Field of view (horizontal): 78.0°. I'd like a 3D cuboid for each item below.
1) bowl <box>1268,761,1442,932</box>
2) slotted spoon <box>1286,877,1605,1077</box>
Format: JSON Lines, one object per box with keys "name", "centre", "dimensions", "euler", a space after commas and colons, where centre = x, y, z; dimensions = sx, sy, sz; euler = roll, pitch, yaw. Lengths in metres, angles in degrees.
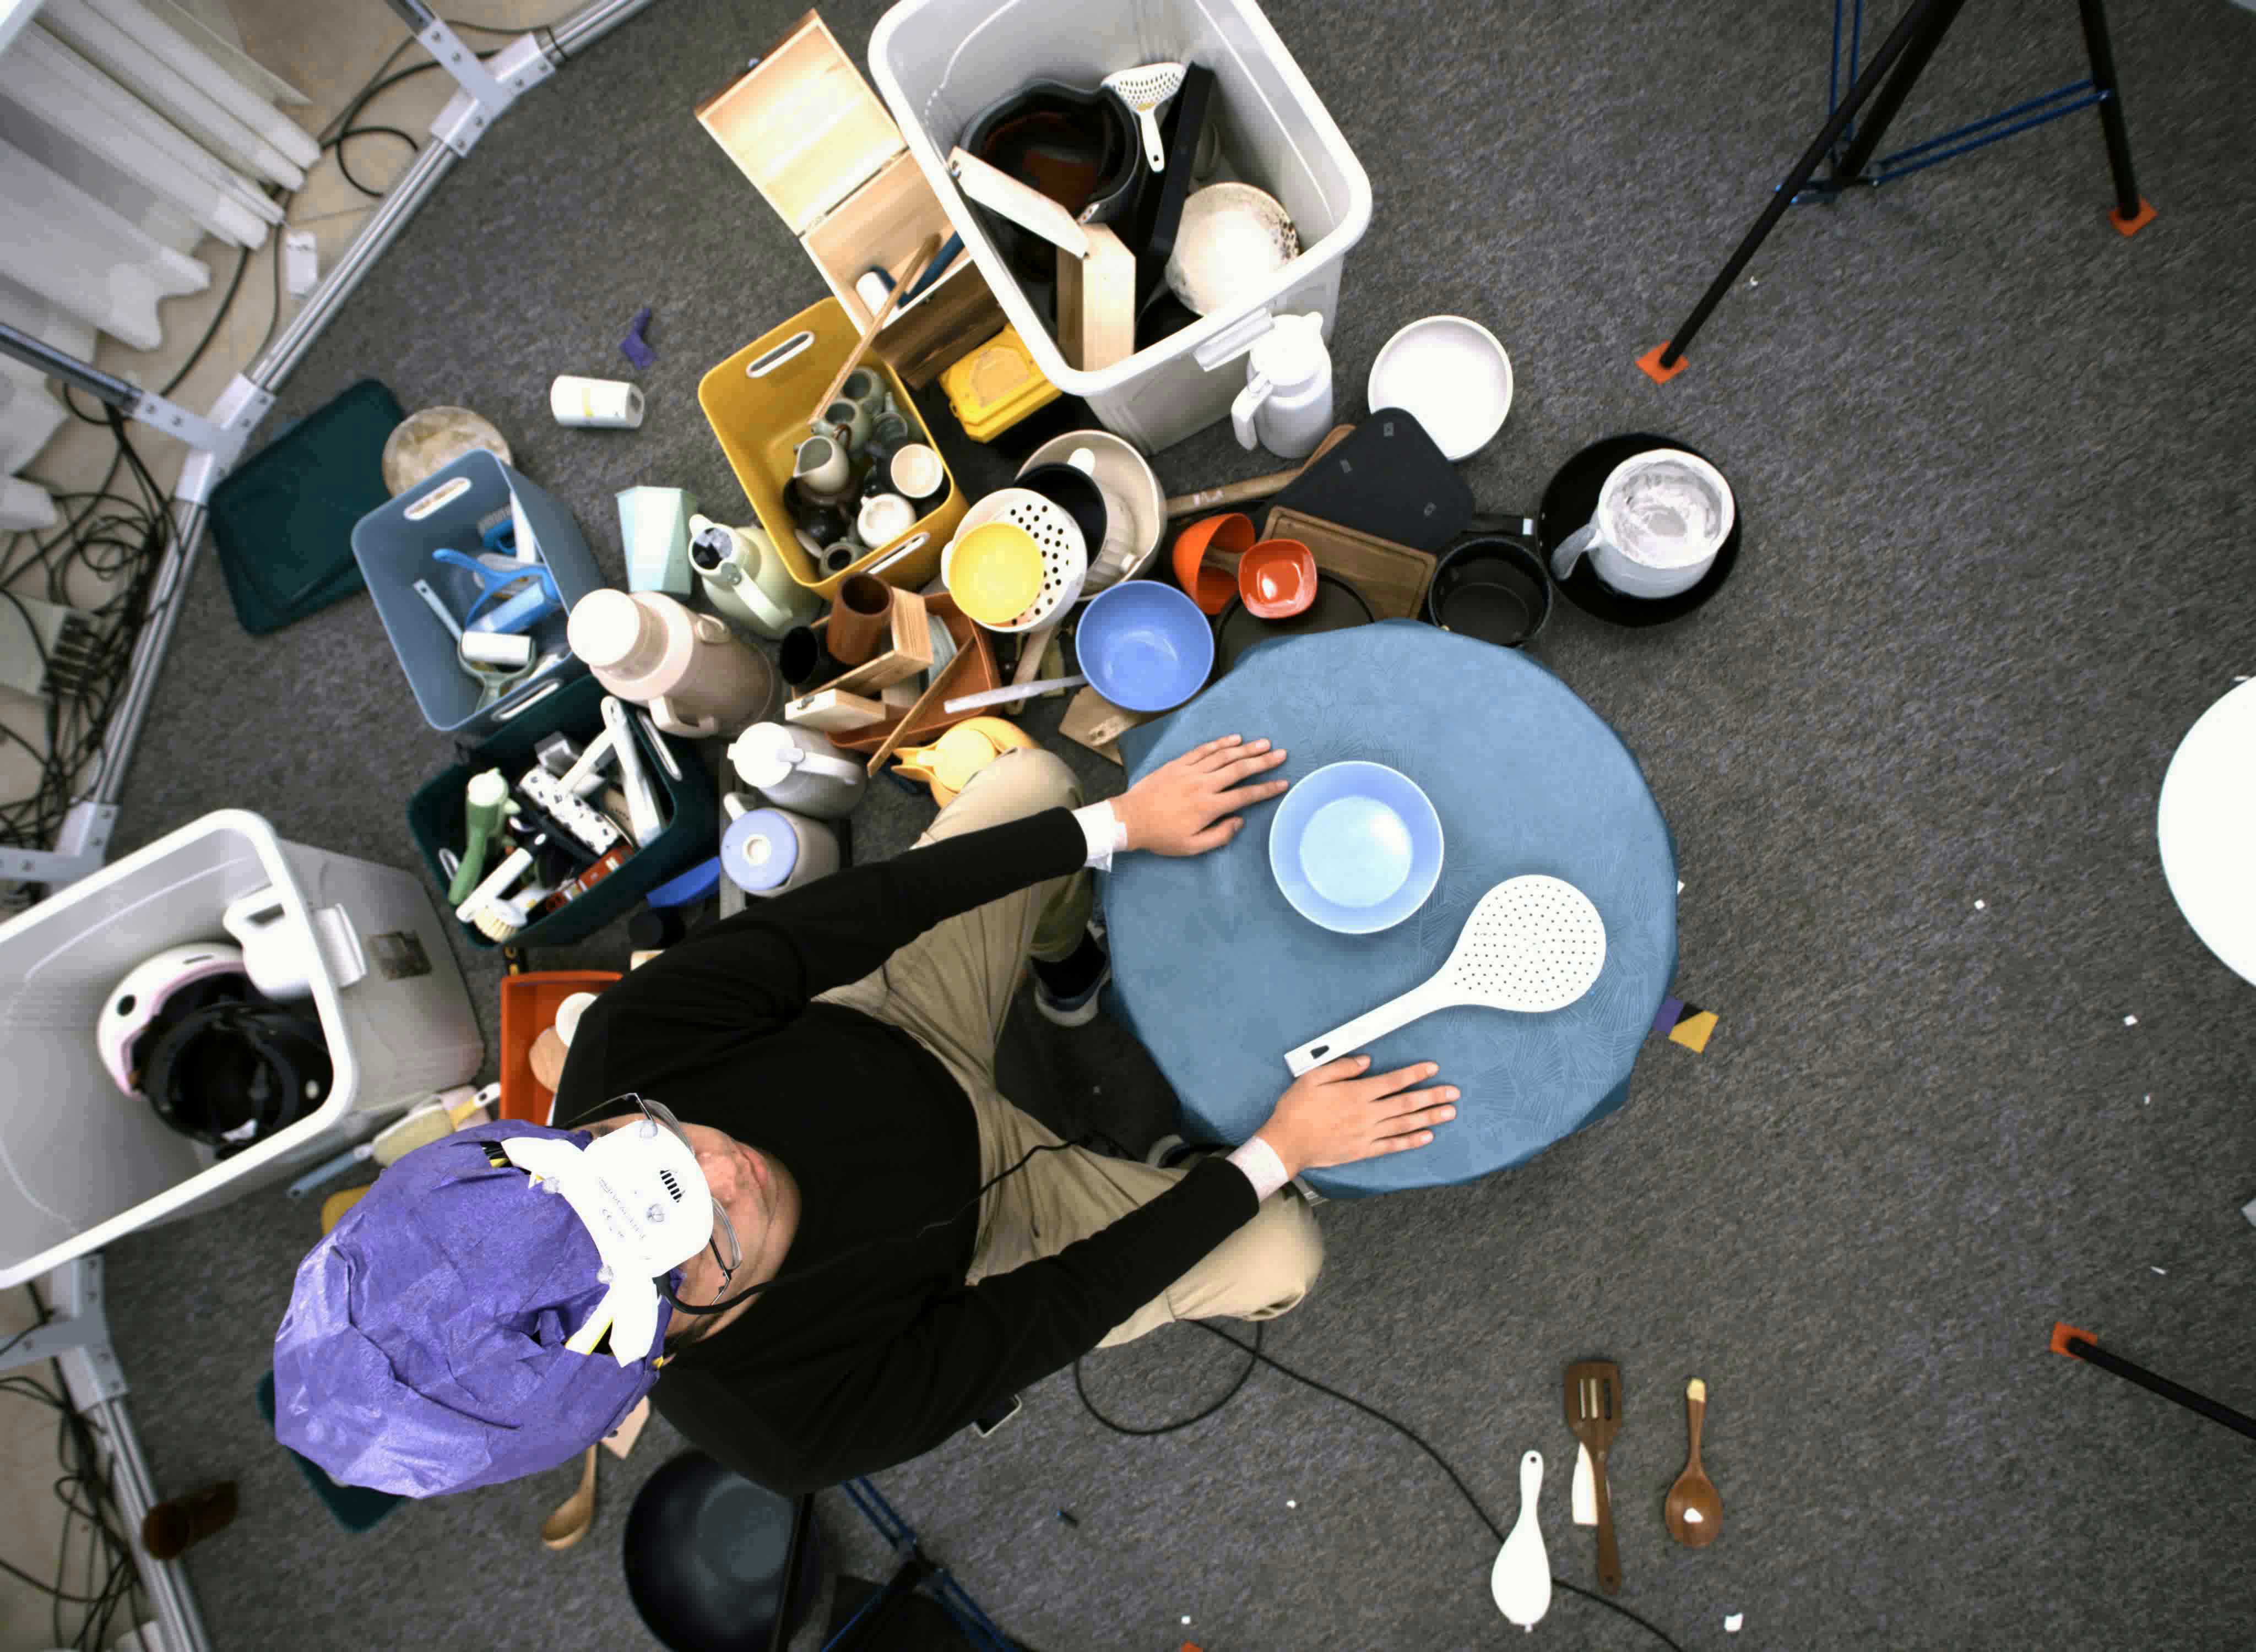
{"name": "bowl", "centre": [0.235, 0.023, 1.434], "dimensions": [0.177, 0.070, 0.175], "euler": [-1, 86, 11]}
{"name": "slotted spoon", "centre": [0.321, 0.170, 1.422], "dimensions": [0.352, 0.046, 0.135], "euler": [-29, 82, 9]}
